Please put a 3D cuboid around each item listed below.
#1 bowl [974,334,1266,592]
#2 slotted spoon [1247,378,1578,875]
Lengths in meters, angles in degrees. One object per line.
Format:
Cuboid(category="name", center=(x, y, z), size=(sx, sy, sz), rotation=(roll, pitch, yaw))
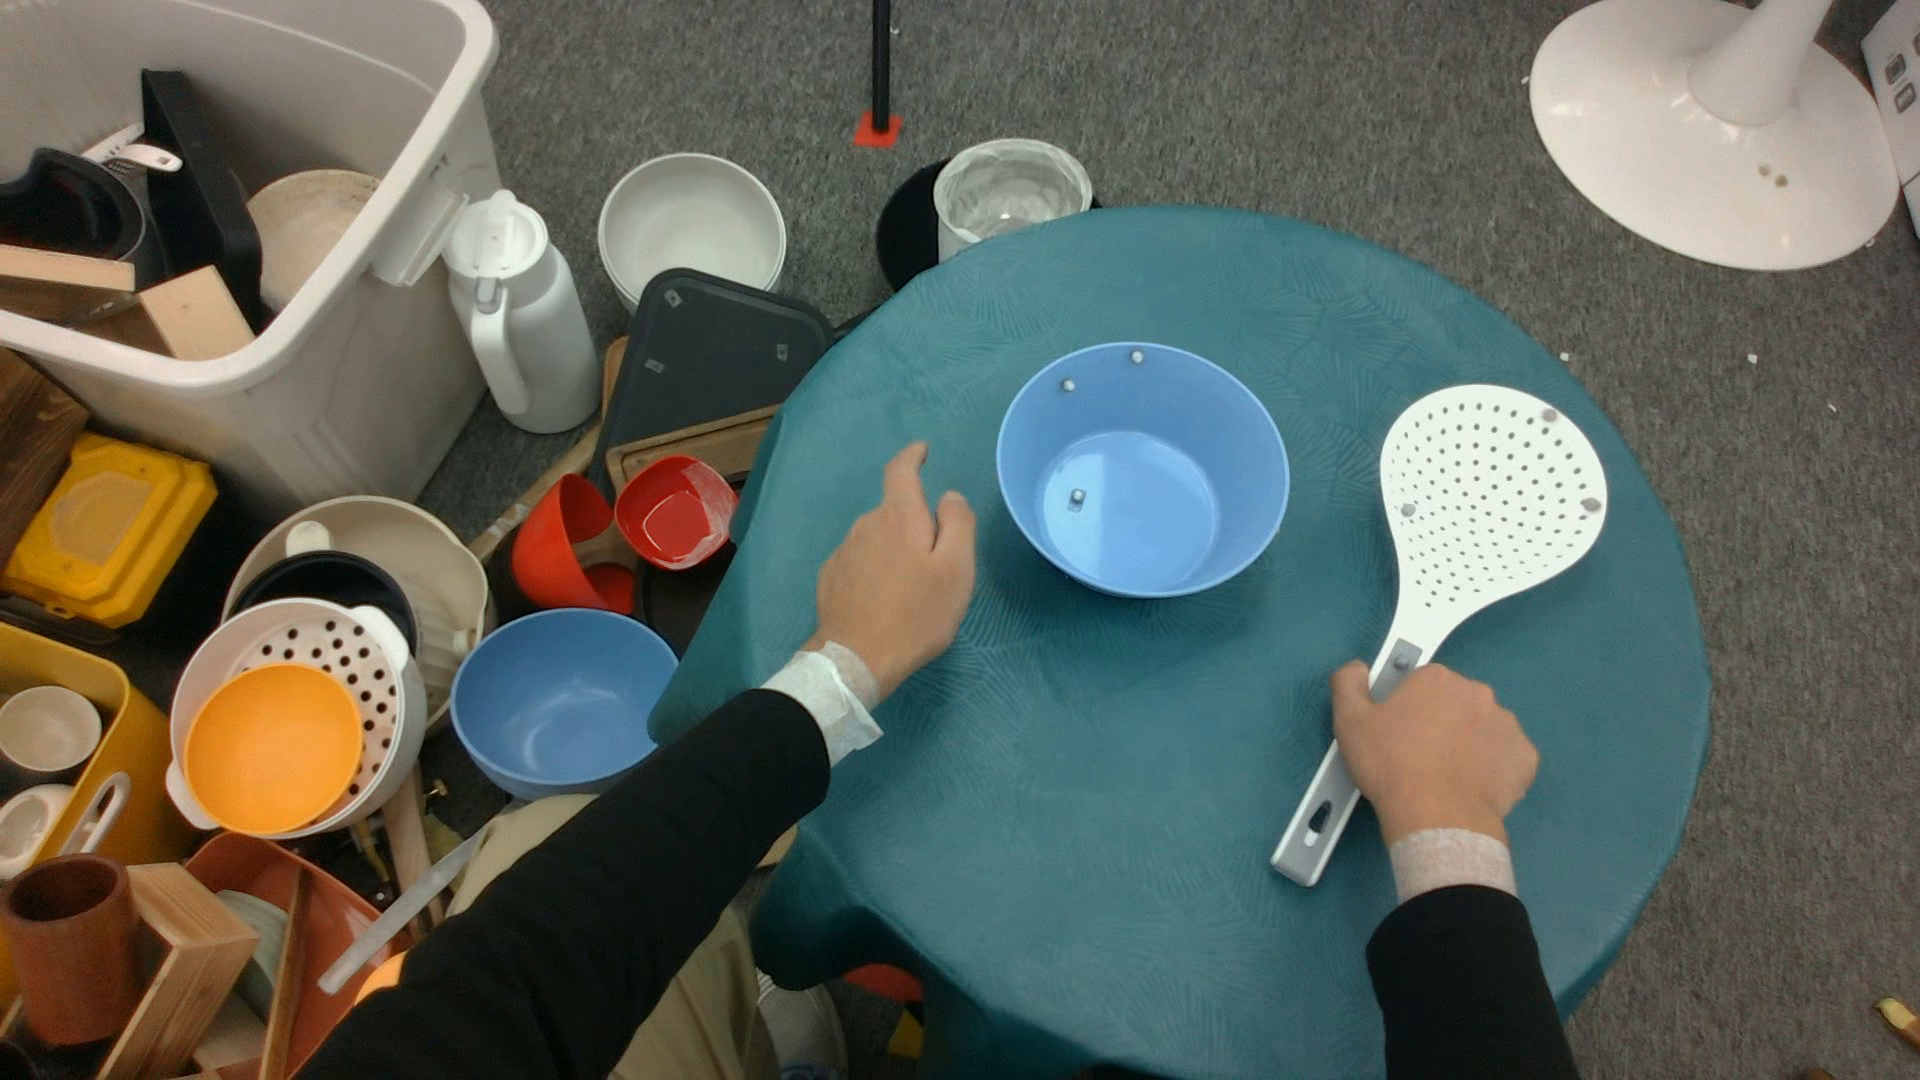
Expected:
Cuboid(category="bowl", center=(0.094, -0.036, 0.847), size=(0.176, 0.070, 0.176), rotation=(2, 63, -4))
Cuboid(category="slotted spoon", center=(0.263, 0.046, 0.831), size=(0.136, 0.045, 0.351), rotation=(29, 64, 11))
